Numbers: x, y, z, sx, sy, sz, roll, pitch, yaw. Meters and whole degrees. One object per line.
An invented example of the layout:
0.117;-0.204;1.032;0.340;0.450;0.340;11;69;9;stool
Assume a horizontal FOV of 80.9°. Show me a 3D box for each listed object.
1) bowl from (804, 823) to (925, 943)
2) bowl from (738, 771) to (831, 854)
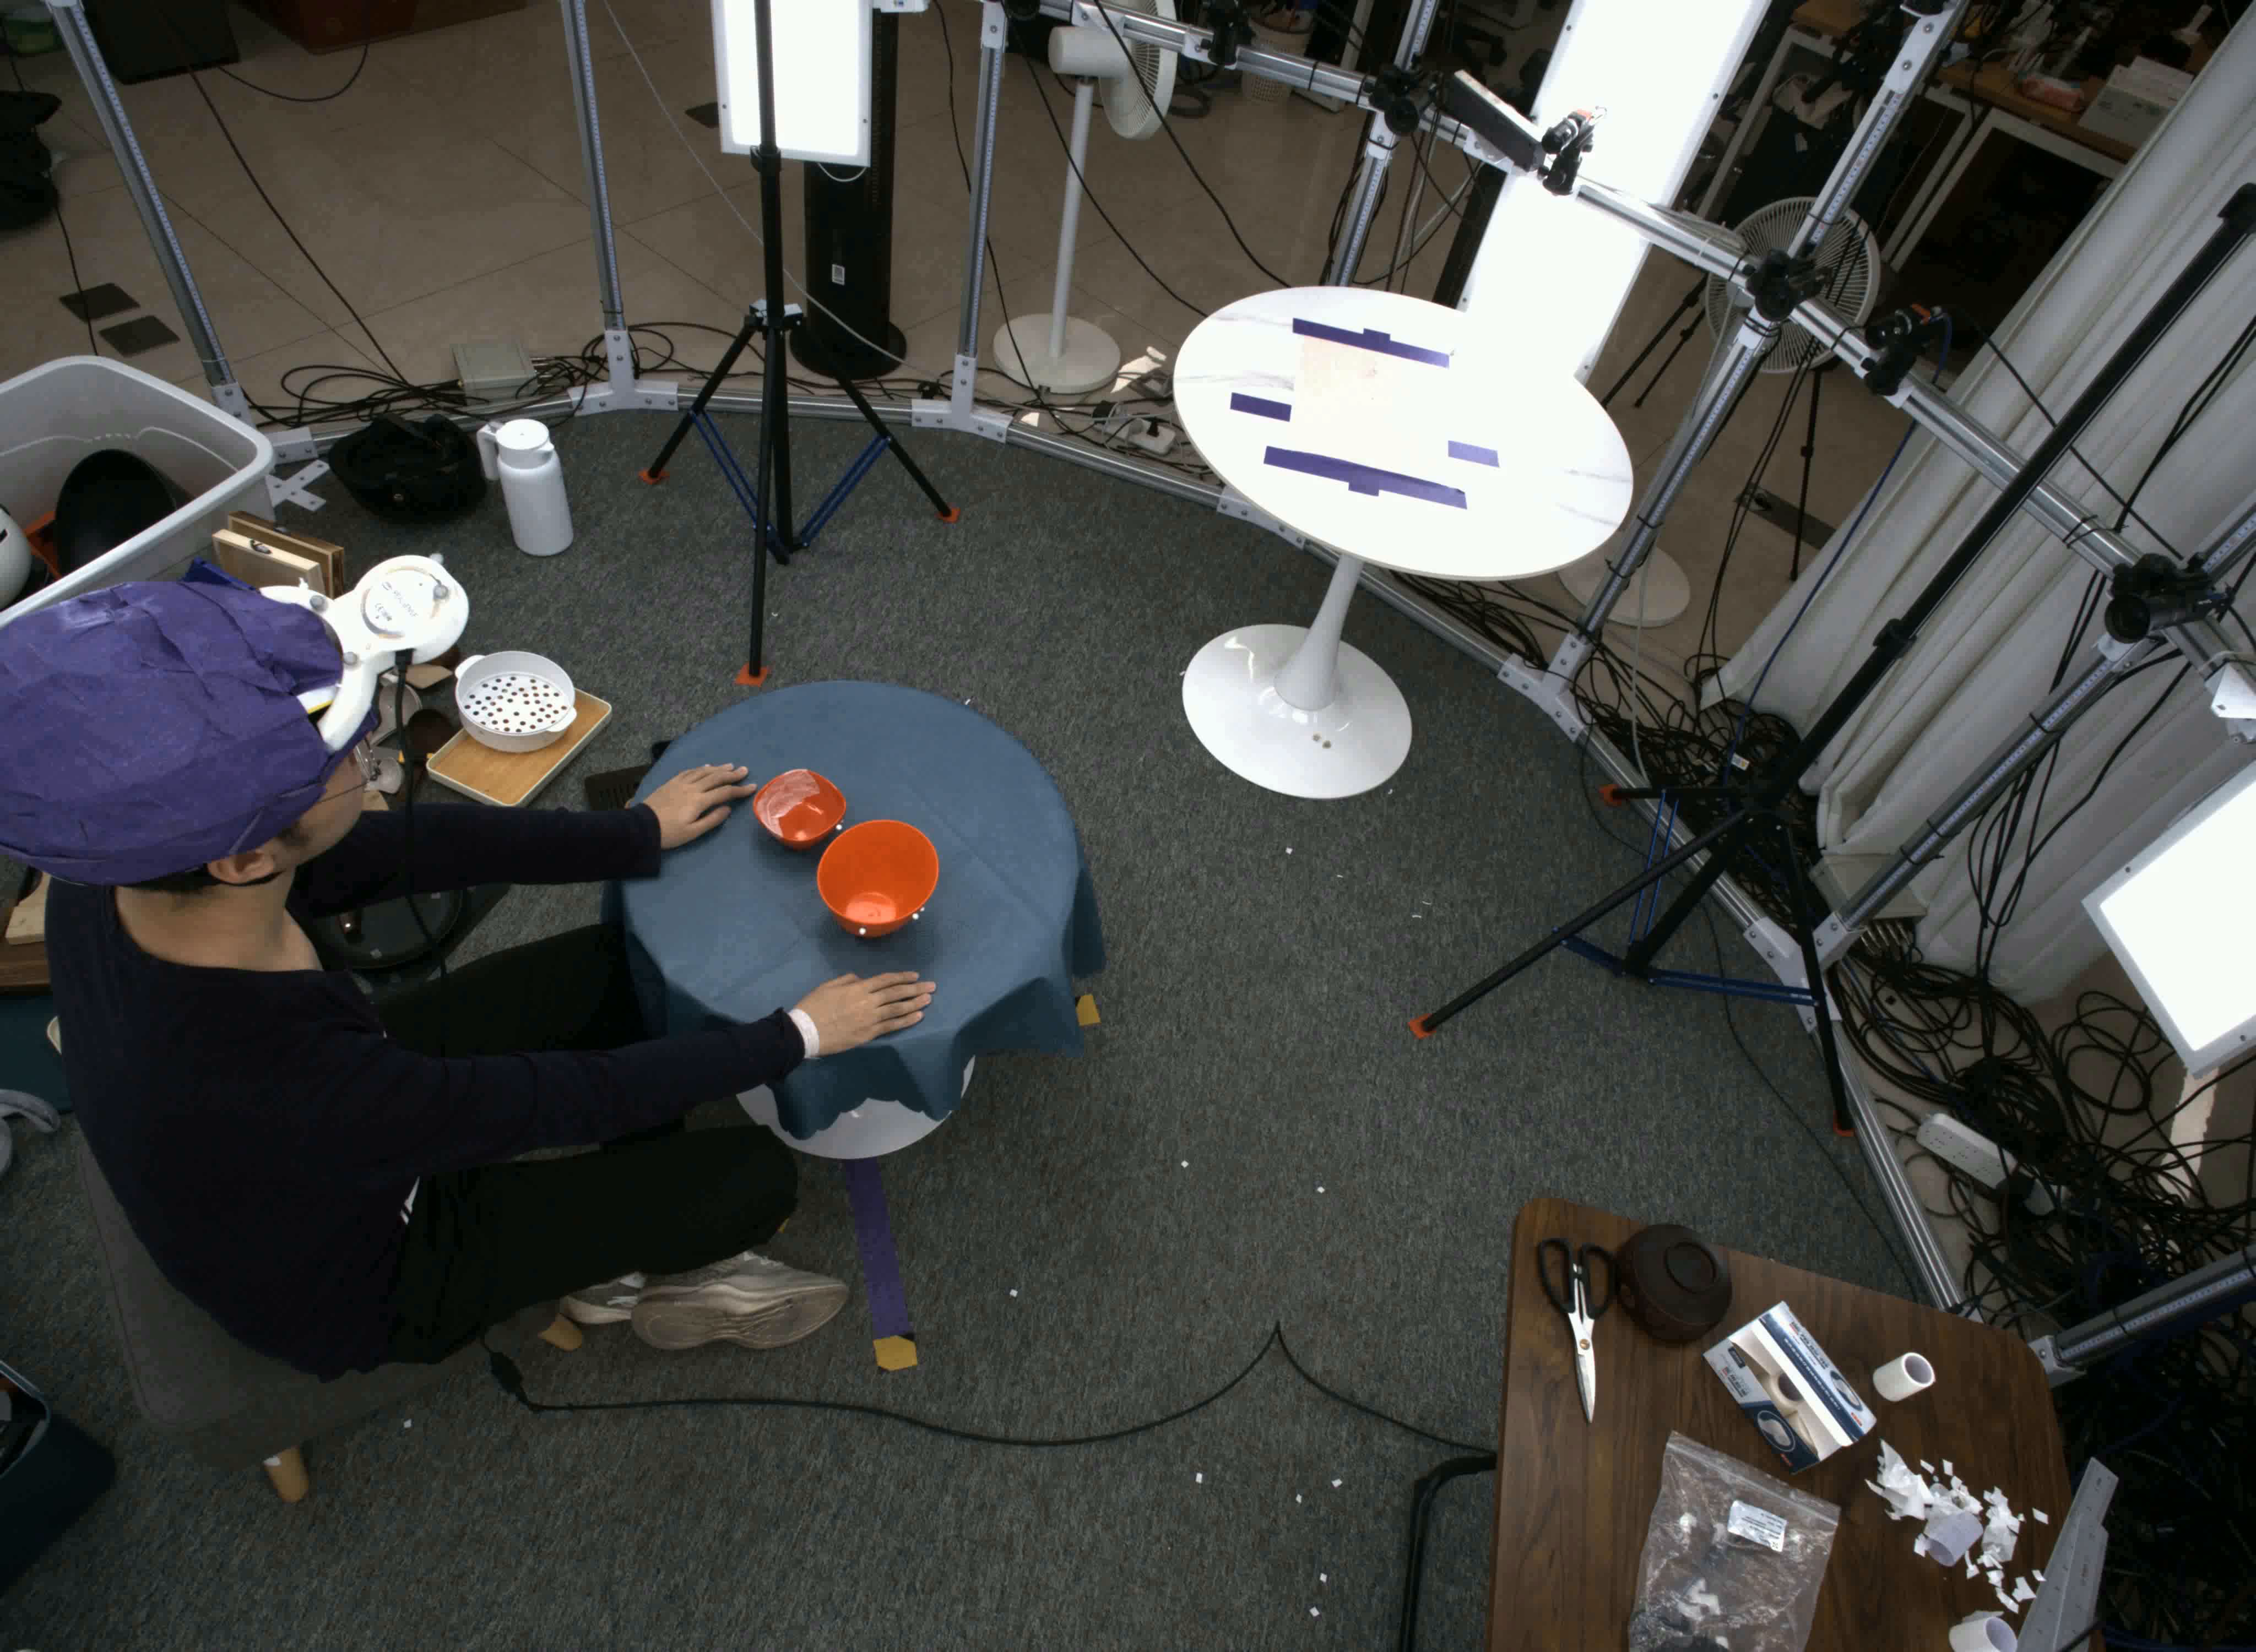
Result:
-0.330;0.083;1.633;0.148;0.107;0.145;7;52;-8;bowl
-0.450;-0.010;1.704;0.119;0.052;0.117;8;54;-9;bowl
